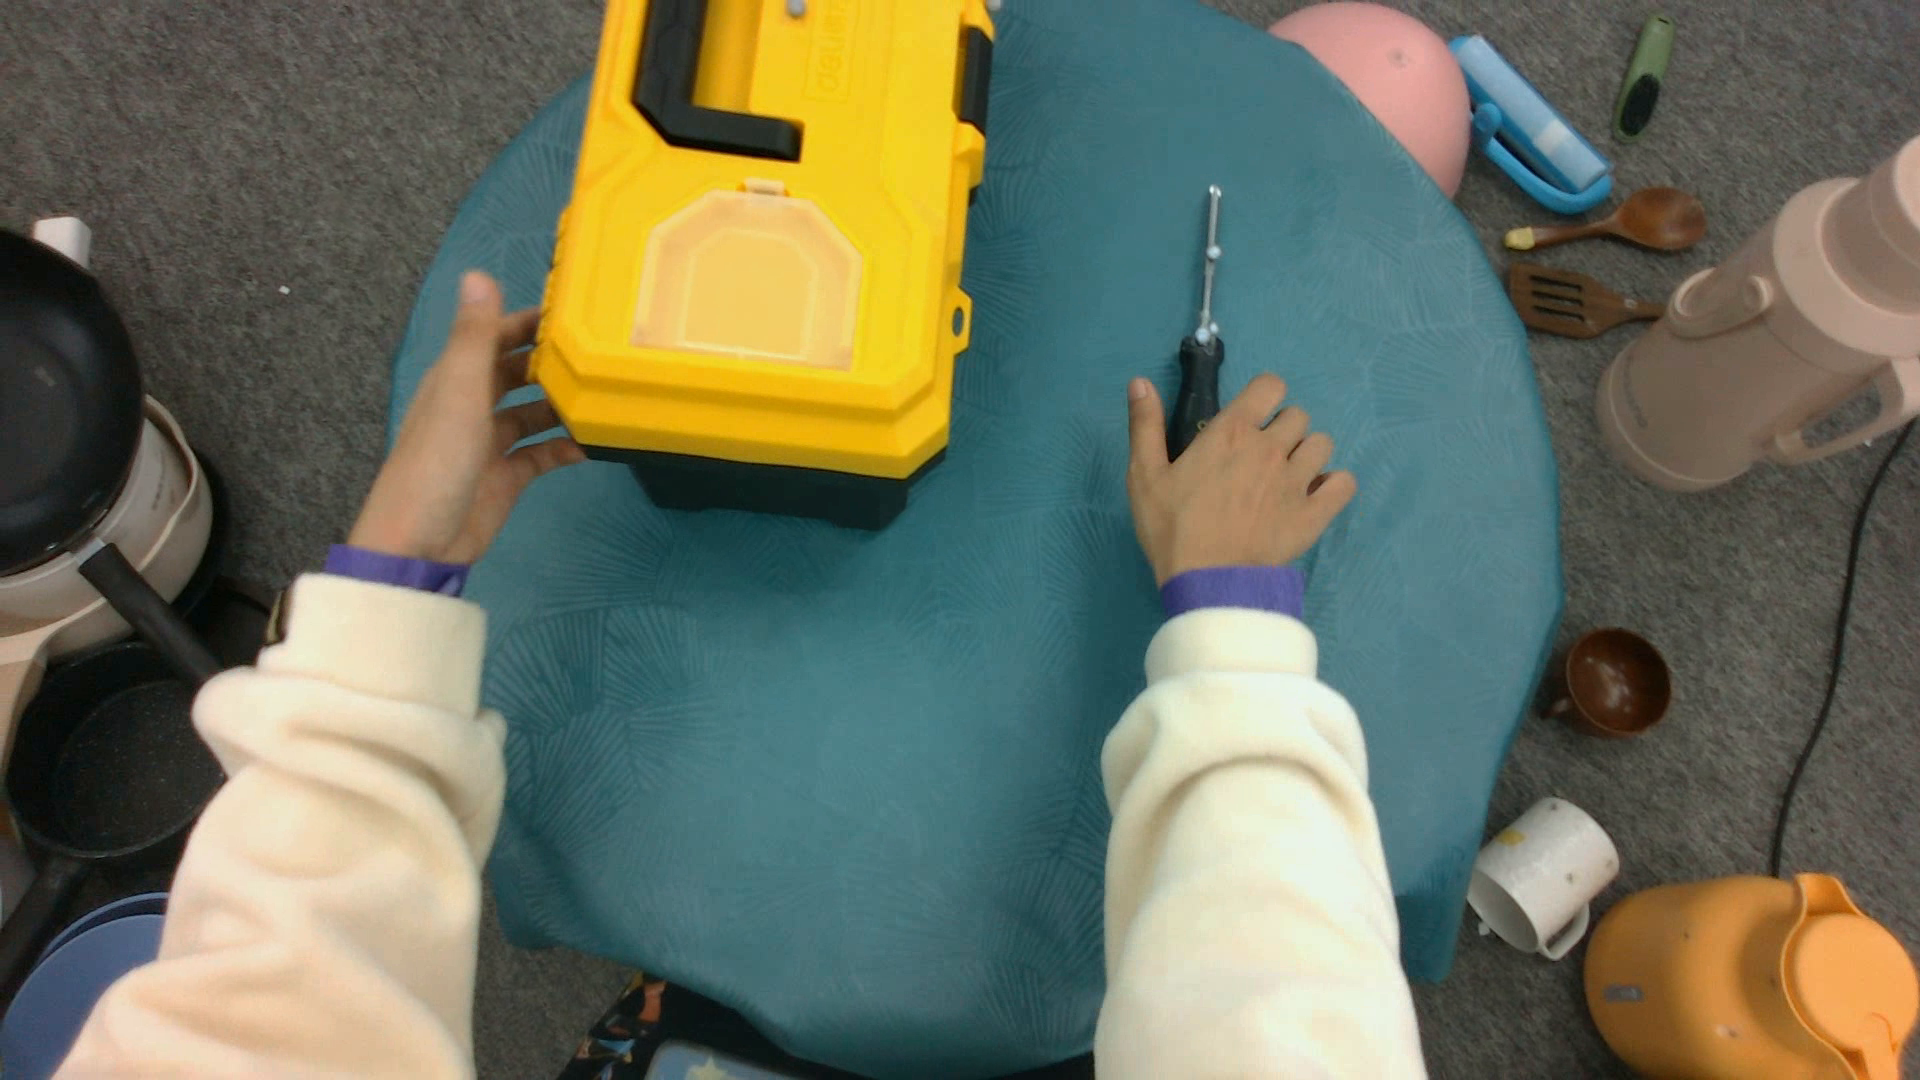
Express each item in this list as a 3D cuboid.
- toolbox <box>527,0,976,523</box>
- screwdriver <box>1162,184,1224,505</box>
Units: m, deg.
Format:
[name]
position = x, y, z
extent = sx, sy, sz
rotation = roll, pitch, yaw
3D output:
[toolbox]
position = -0.080, -0.188, 0.654
extent = 0.181, 0.172, 0.352
rotation = 7, 70, -3
[screwdriver]
position = 0.127, -0.109, 0.721
extent = 0.031, 0.031, 0.197
rotation = 9, 69, -2
